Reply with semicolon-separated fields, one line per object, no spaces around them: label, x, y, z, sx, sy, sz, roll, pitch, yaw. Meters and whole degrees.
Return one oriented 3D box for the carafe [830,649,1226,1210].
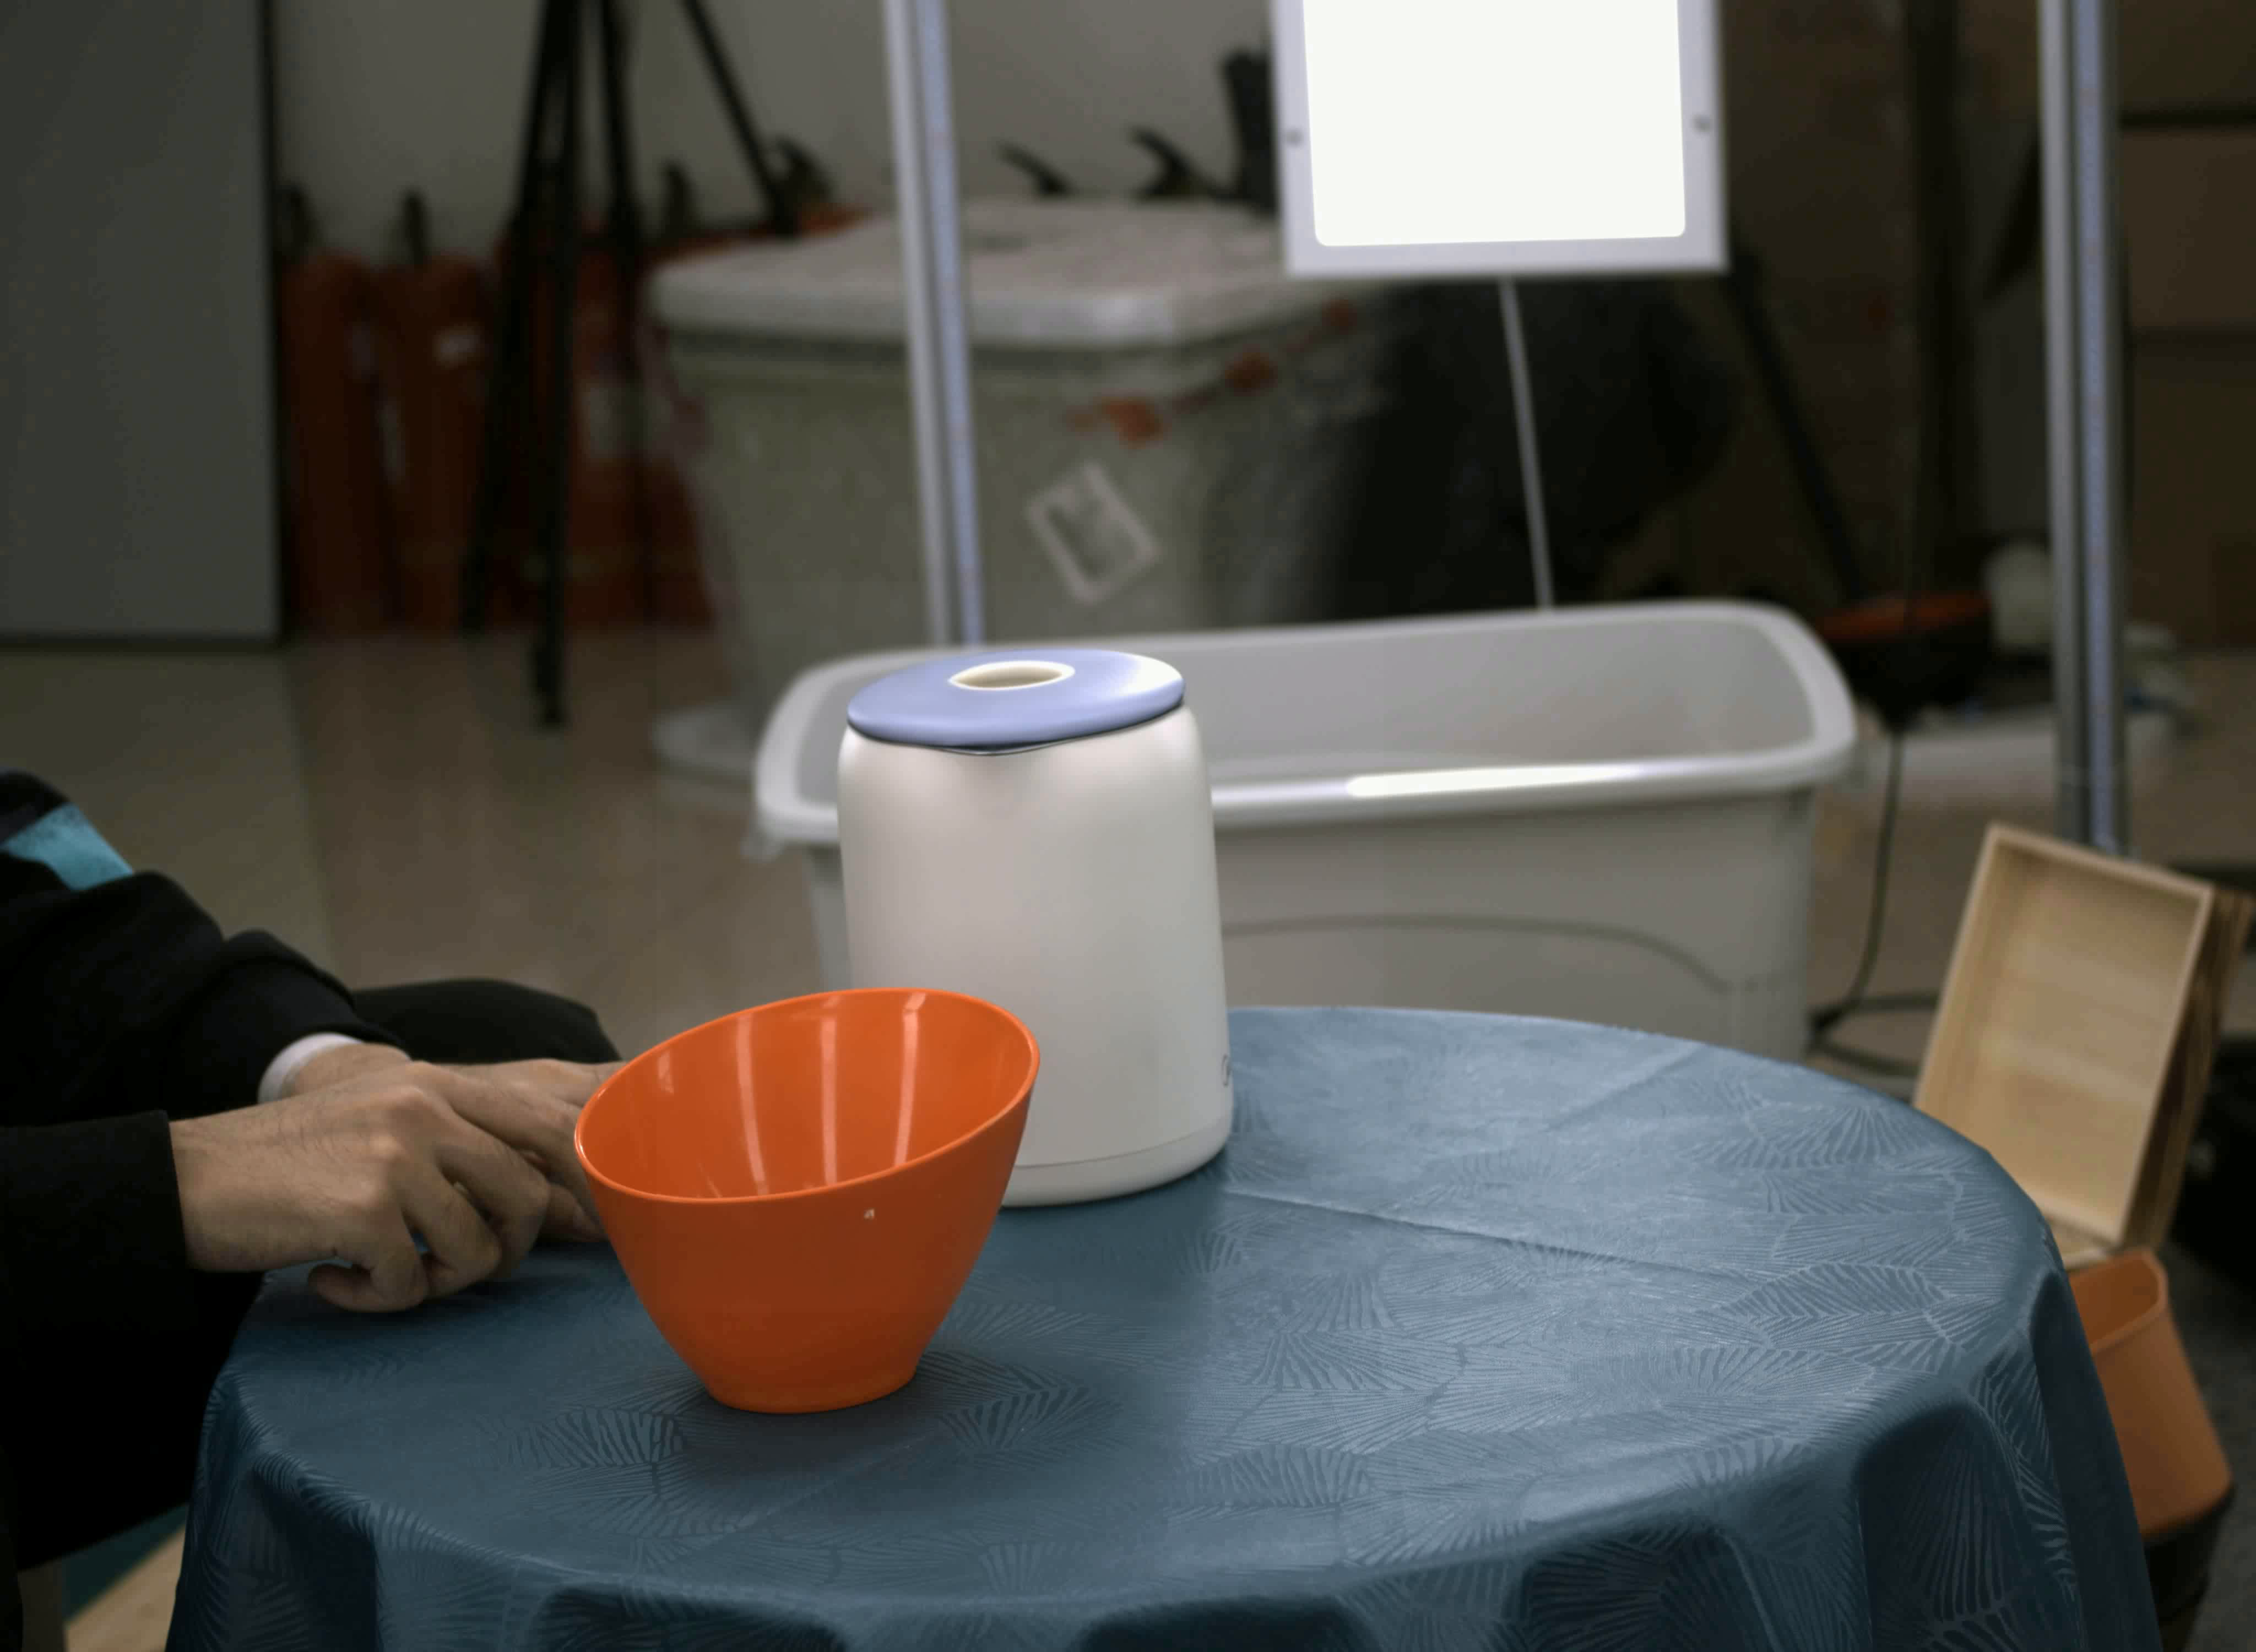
carafe;-0.033;0.030;1.944;0.132;0.183;0.190;-2;12;5

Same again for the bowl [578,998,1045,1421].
bowl;-0.096;0.124;1.732;0.147;0.105;0.148;-5;13;0
